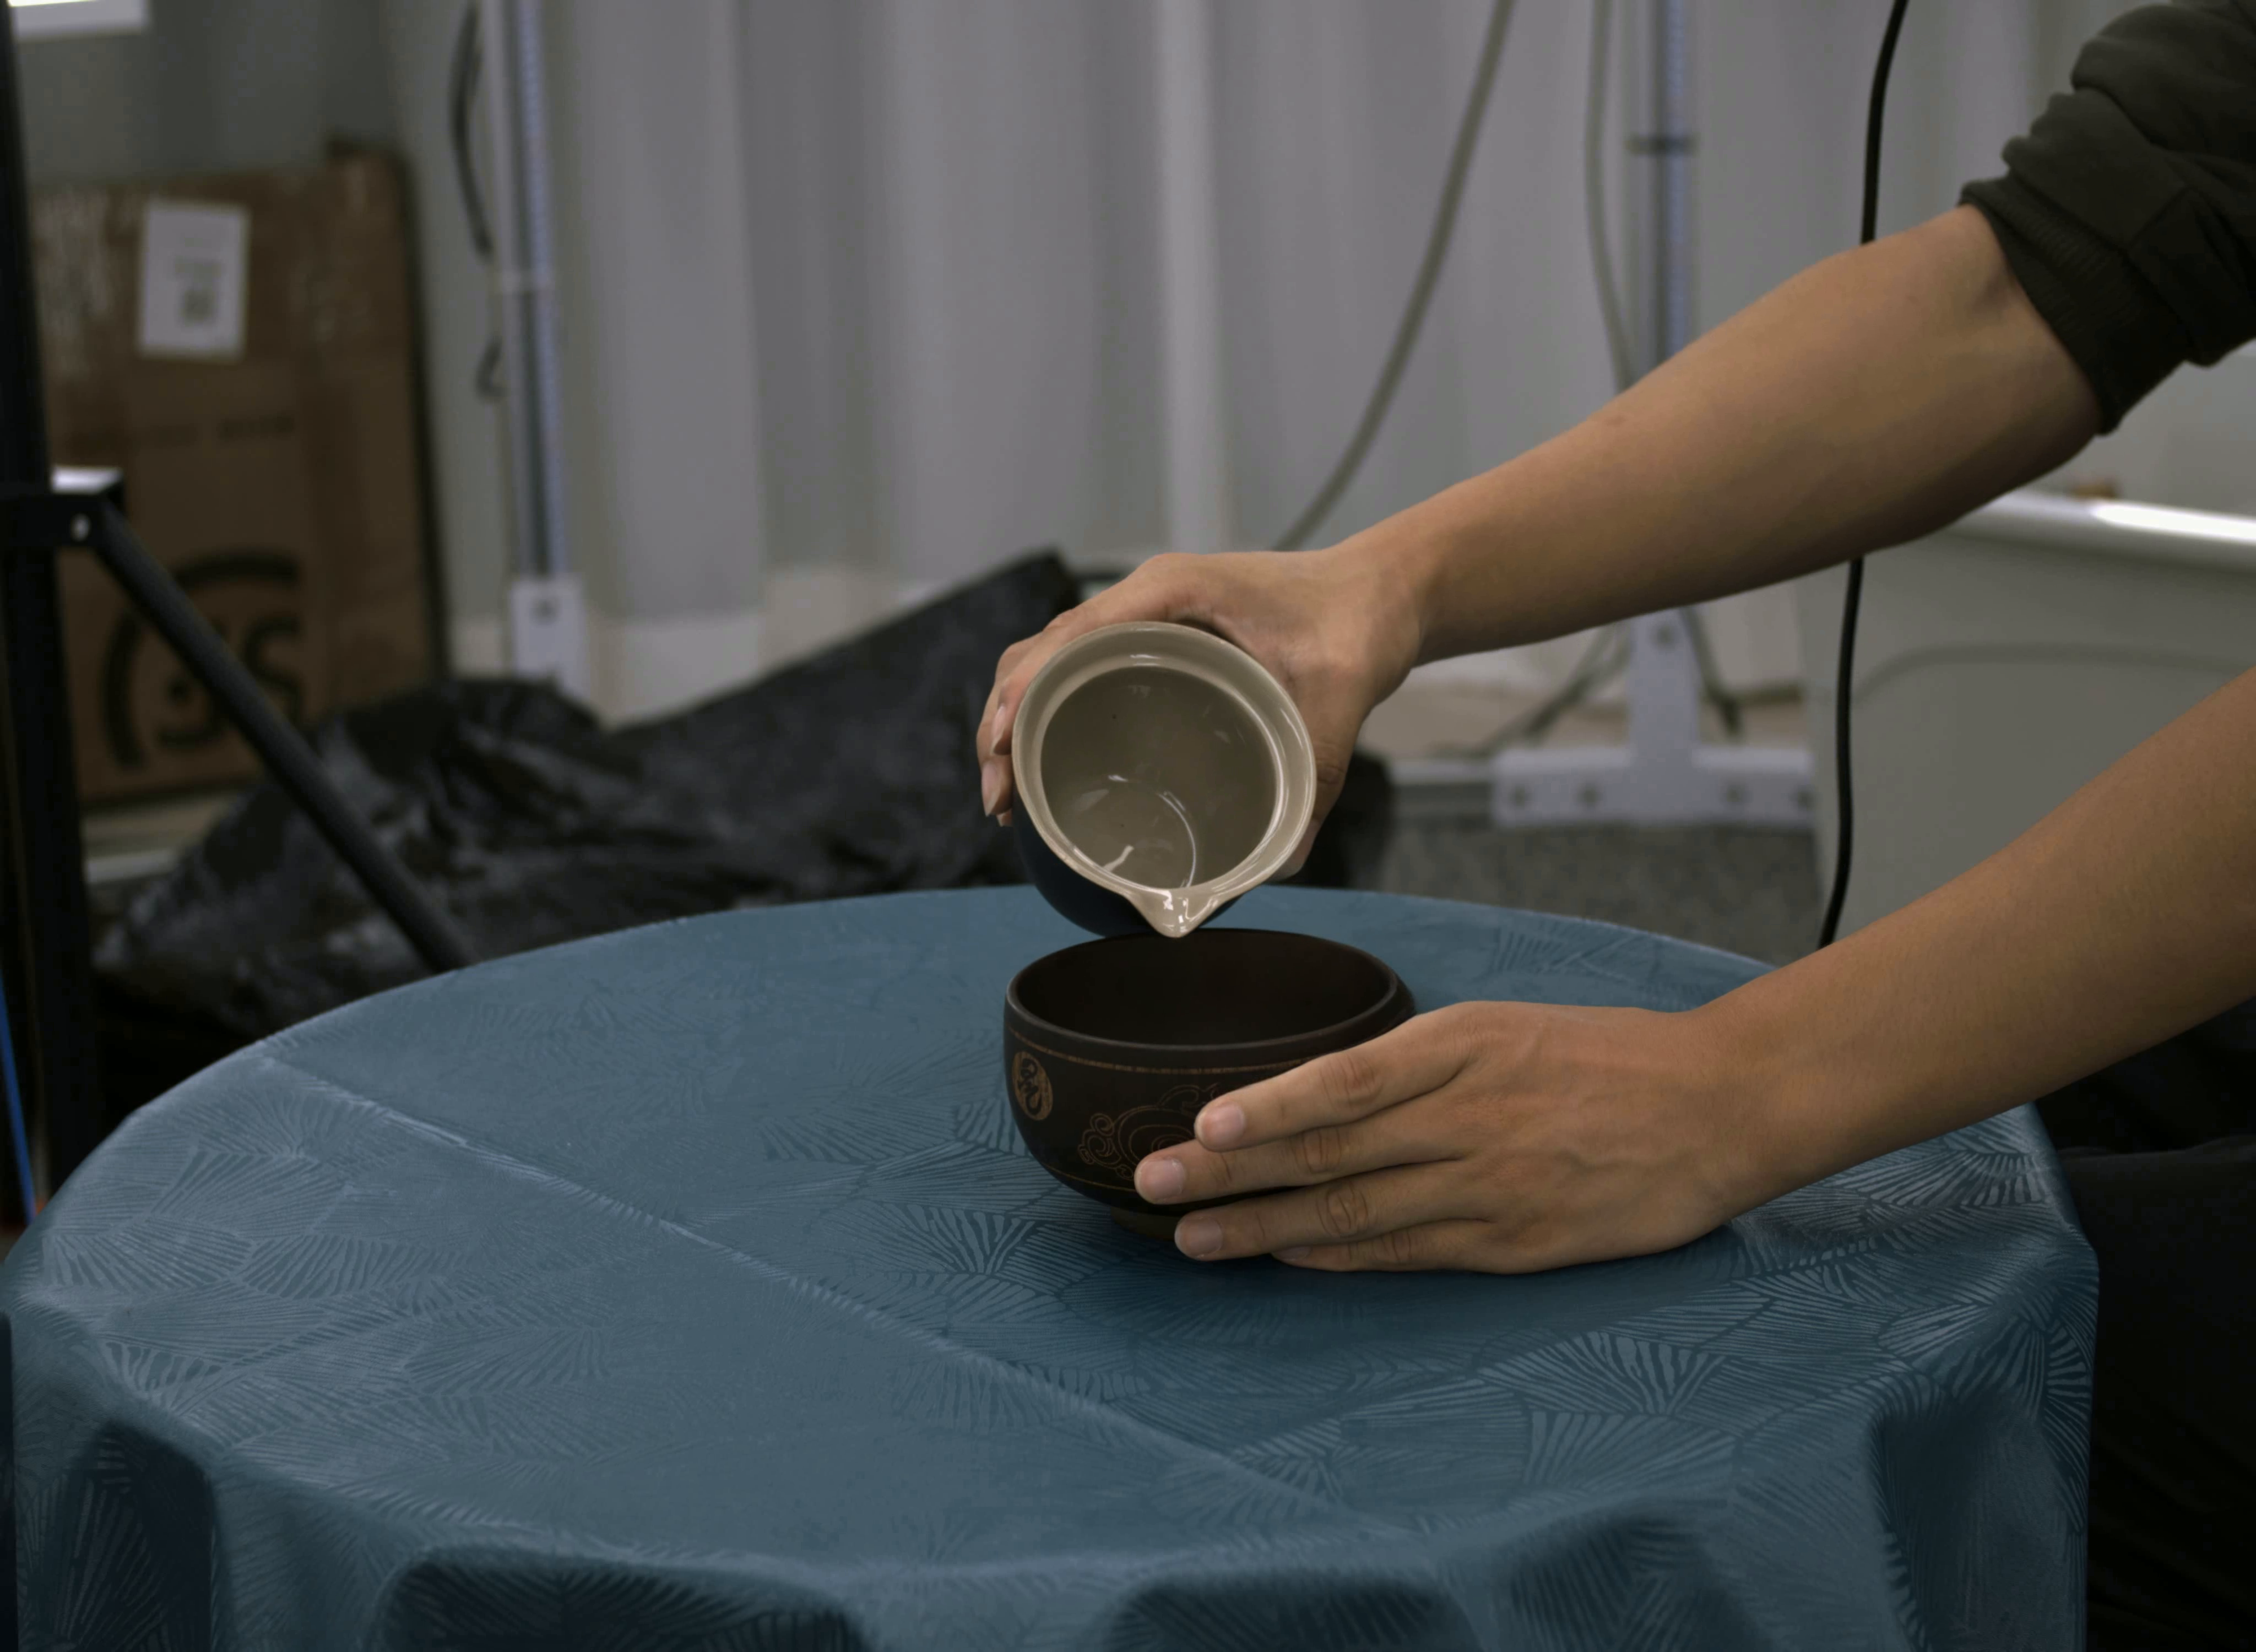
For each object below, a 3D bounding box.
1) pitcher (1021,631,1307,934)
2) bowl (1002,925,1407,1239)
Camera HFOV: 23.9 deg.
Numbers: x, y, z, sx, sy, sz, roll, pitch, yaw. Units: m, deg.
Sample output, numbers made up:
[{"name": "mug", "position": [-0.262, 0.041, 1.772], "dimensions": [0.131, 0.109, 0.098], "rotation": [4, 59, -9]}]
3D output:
[{"name": "pitcher", "position": [0.006, -0.002, 1.599], "dimensions": [0.082, 0.097, 0.071], "rotation": [8, -27, -10]}, {"name": "bowl", "position": [0.024, 0.078, 1.535], "dimensions": [0.117, 0.070, 0.118], "rotation": [-5, 15, 0]}]
